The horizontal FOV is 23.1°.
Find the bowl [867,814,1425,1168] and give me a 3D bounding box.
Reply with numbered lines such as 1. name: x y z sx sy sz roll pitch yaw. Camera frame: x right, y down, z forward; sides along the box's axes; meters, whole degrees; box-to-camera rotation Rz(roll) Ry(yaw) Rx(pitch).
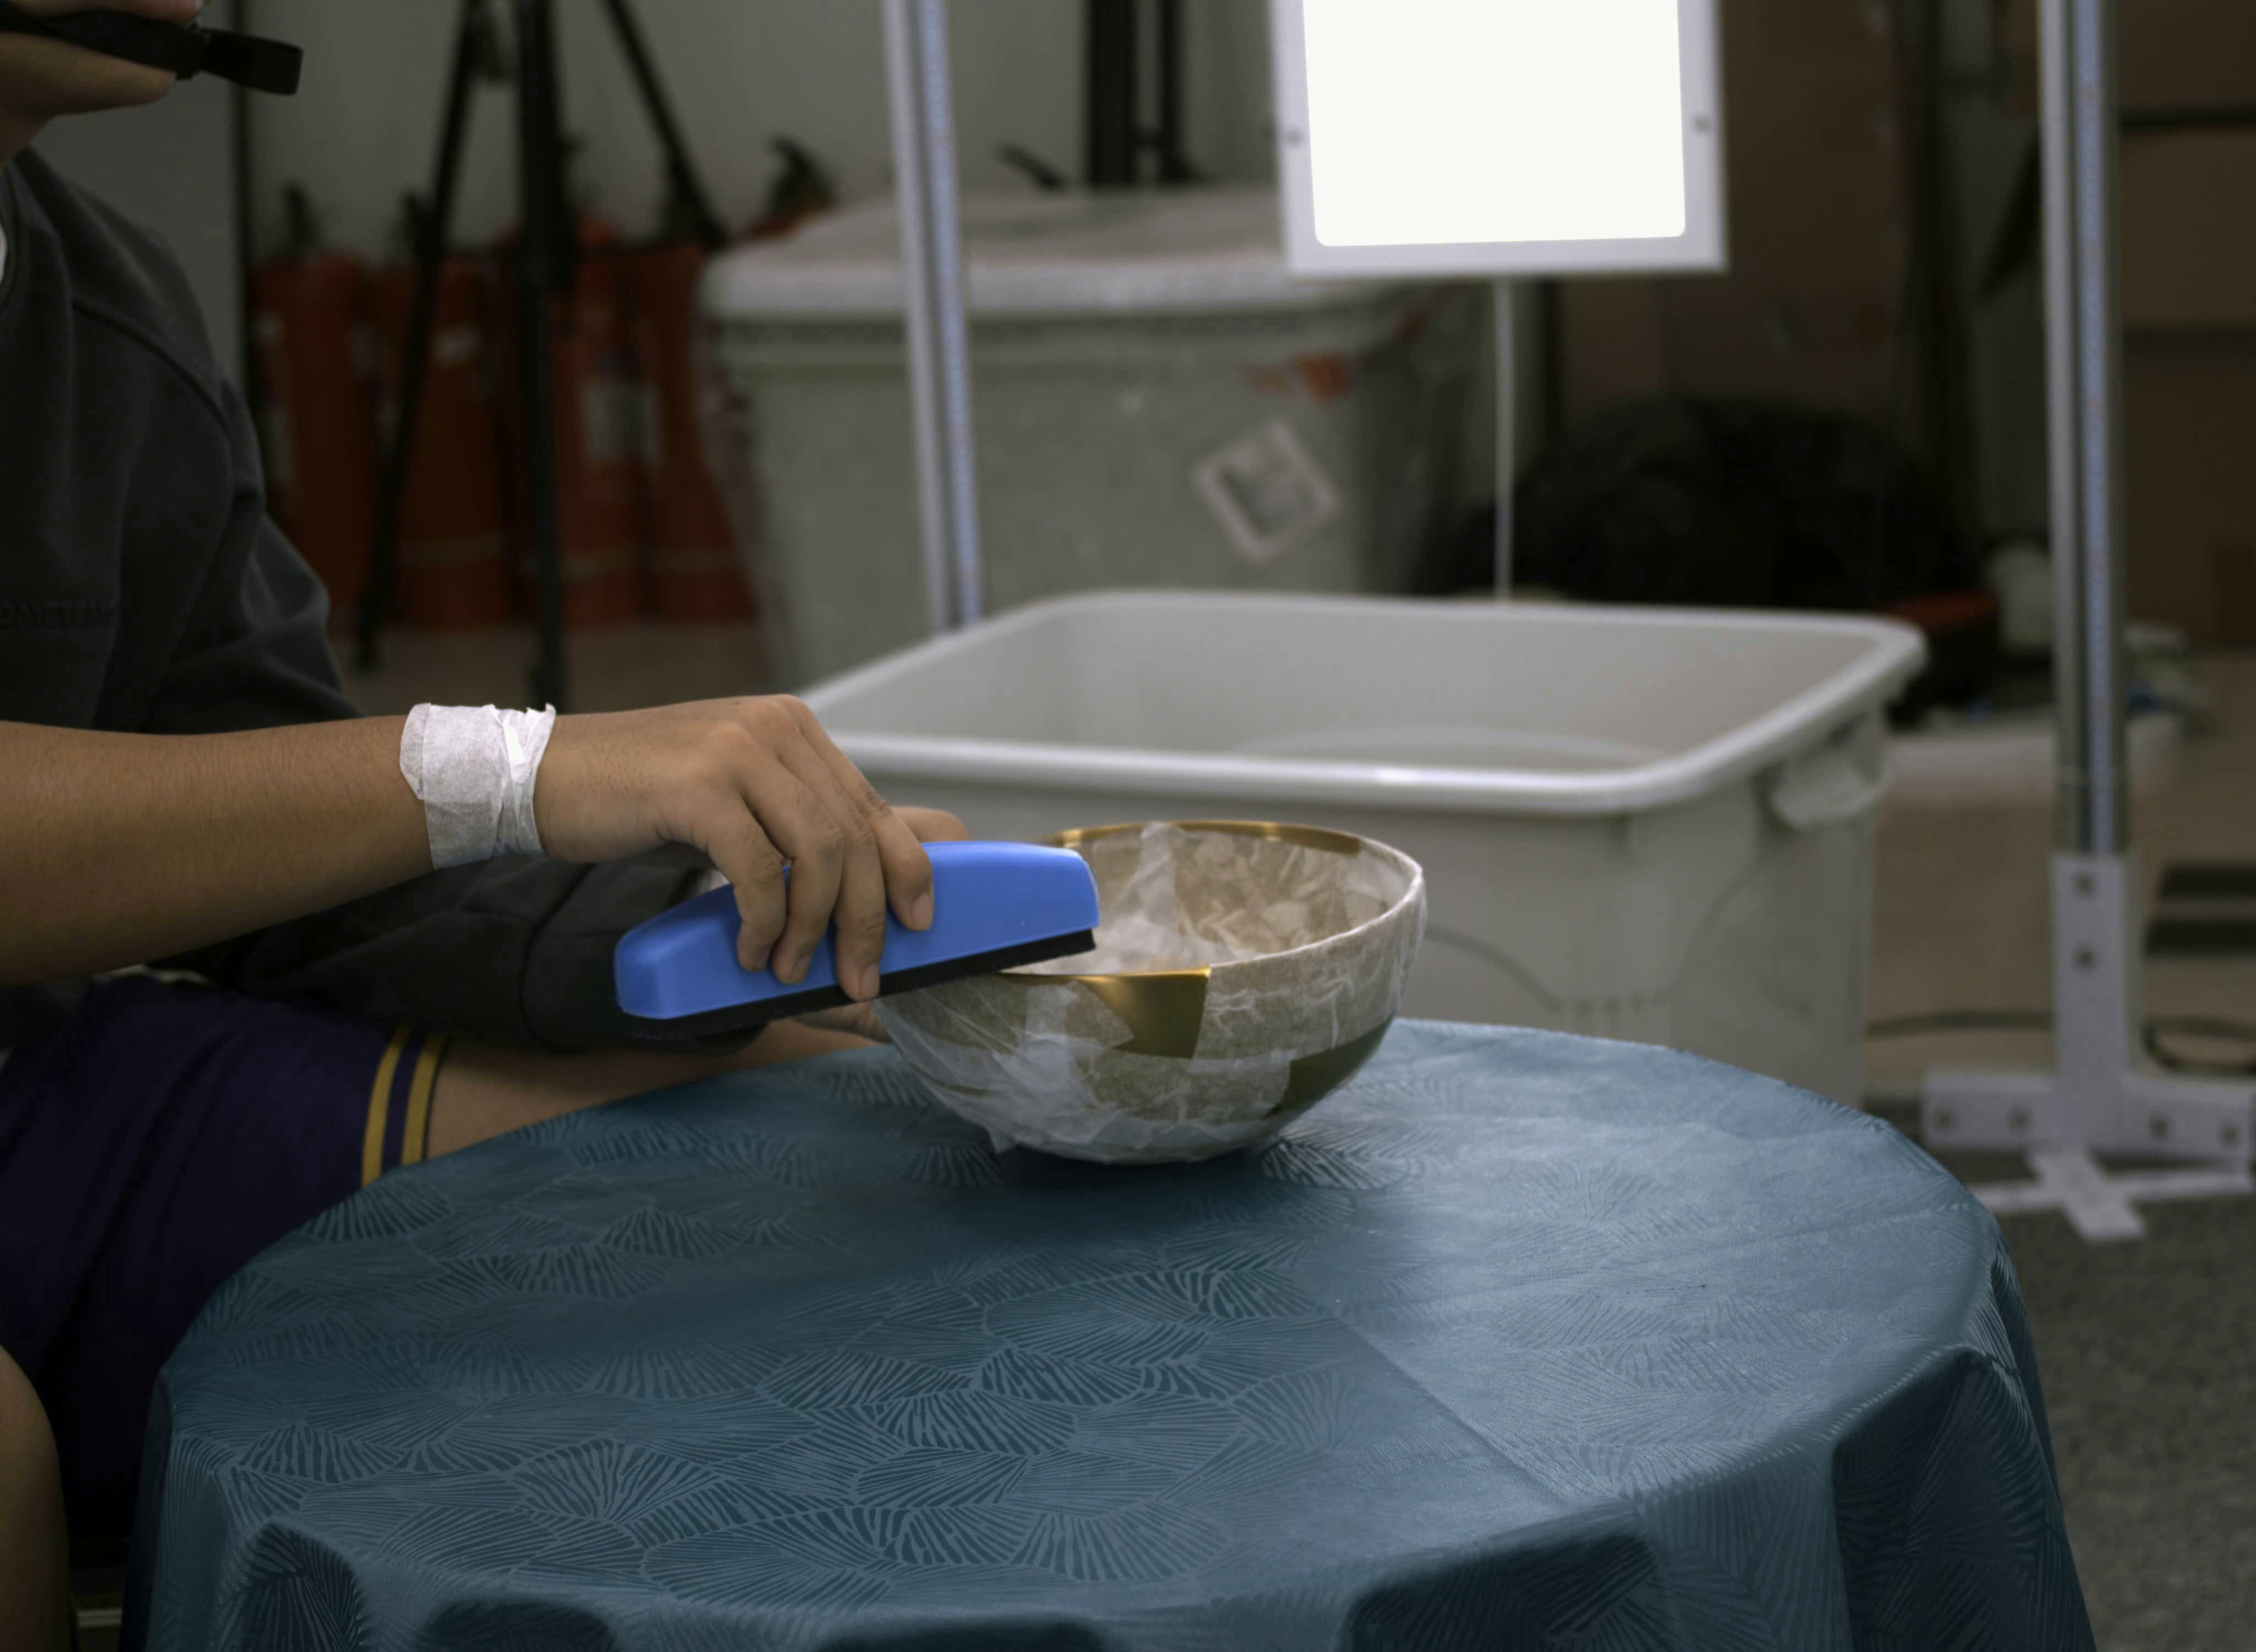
1. bowl: 0.004 0.065 1.948 0.214 0.095 0.214 -6 15 0

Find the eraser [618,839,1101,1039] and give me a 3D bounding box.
1. eraser: -0.090 0.033 1.837 0.159 0.048 0.054 -12 10 -18
